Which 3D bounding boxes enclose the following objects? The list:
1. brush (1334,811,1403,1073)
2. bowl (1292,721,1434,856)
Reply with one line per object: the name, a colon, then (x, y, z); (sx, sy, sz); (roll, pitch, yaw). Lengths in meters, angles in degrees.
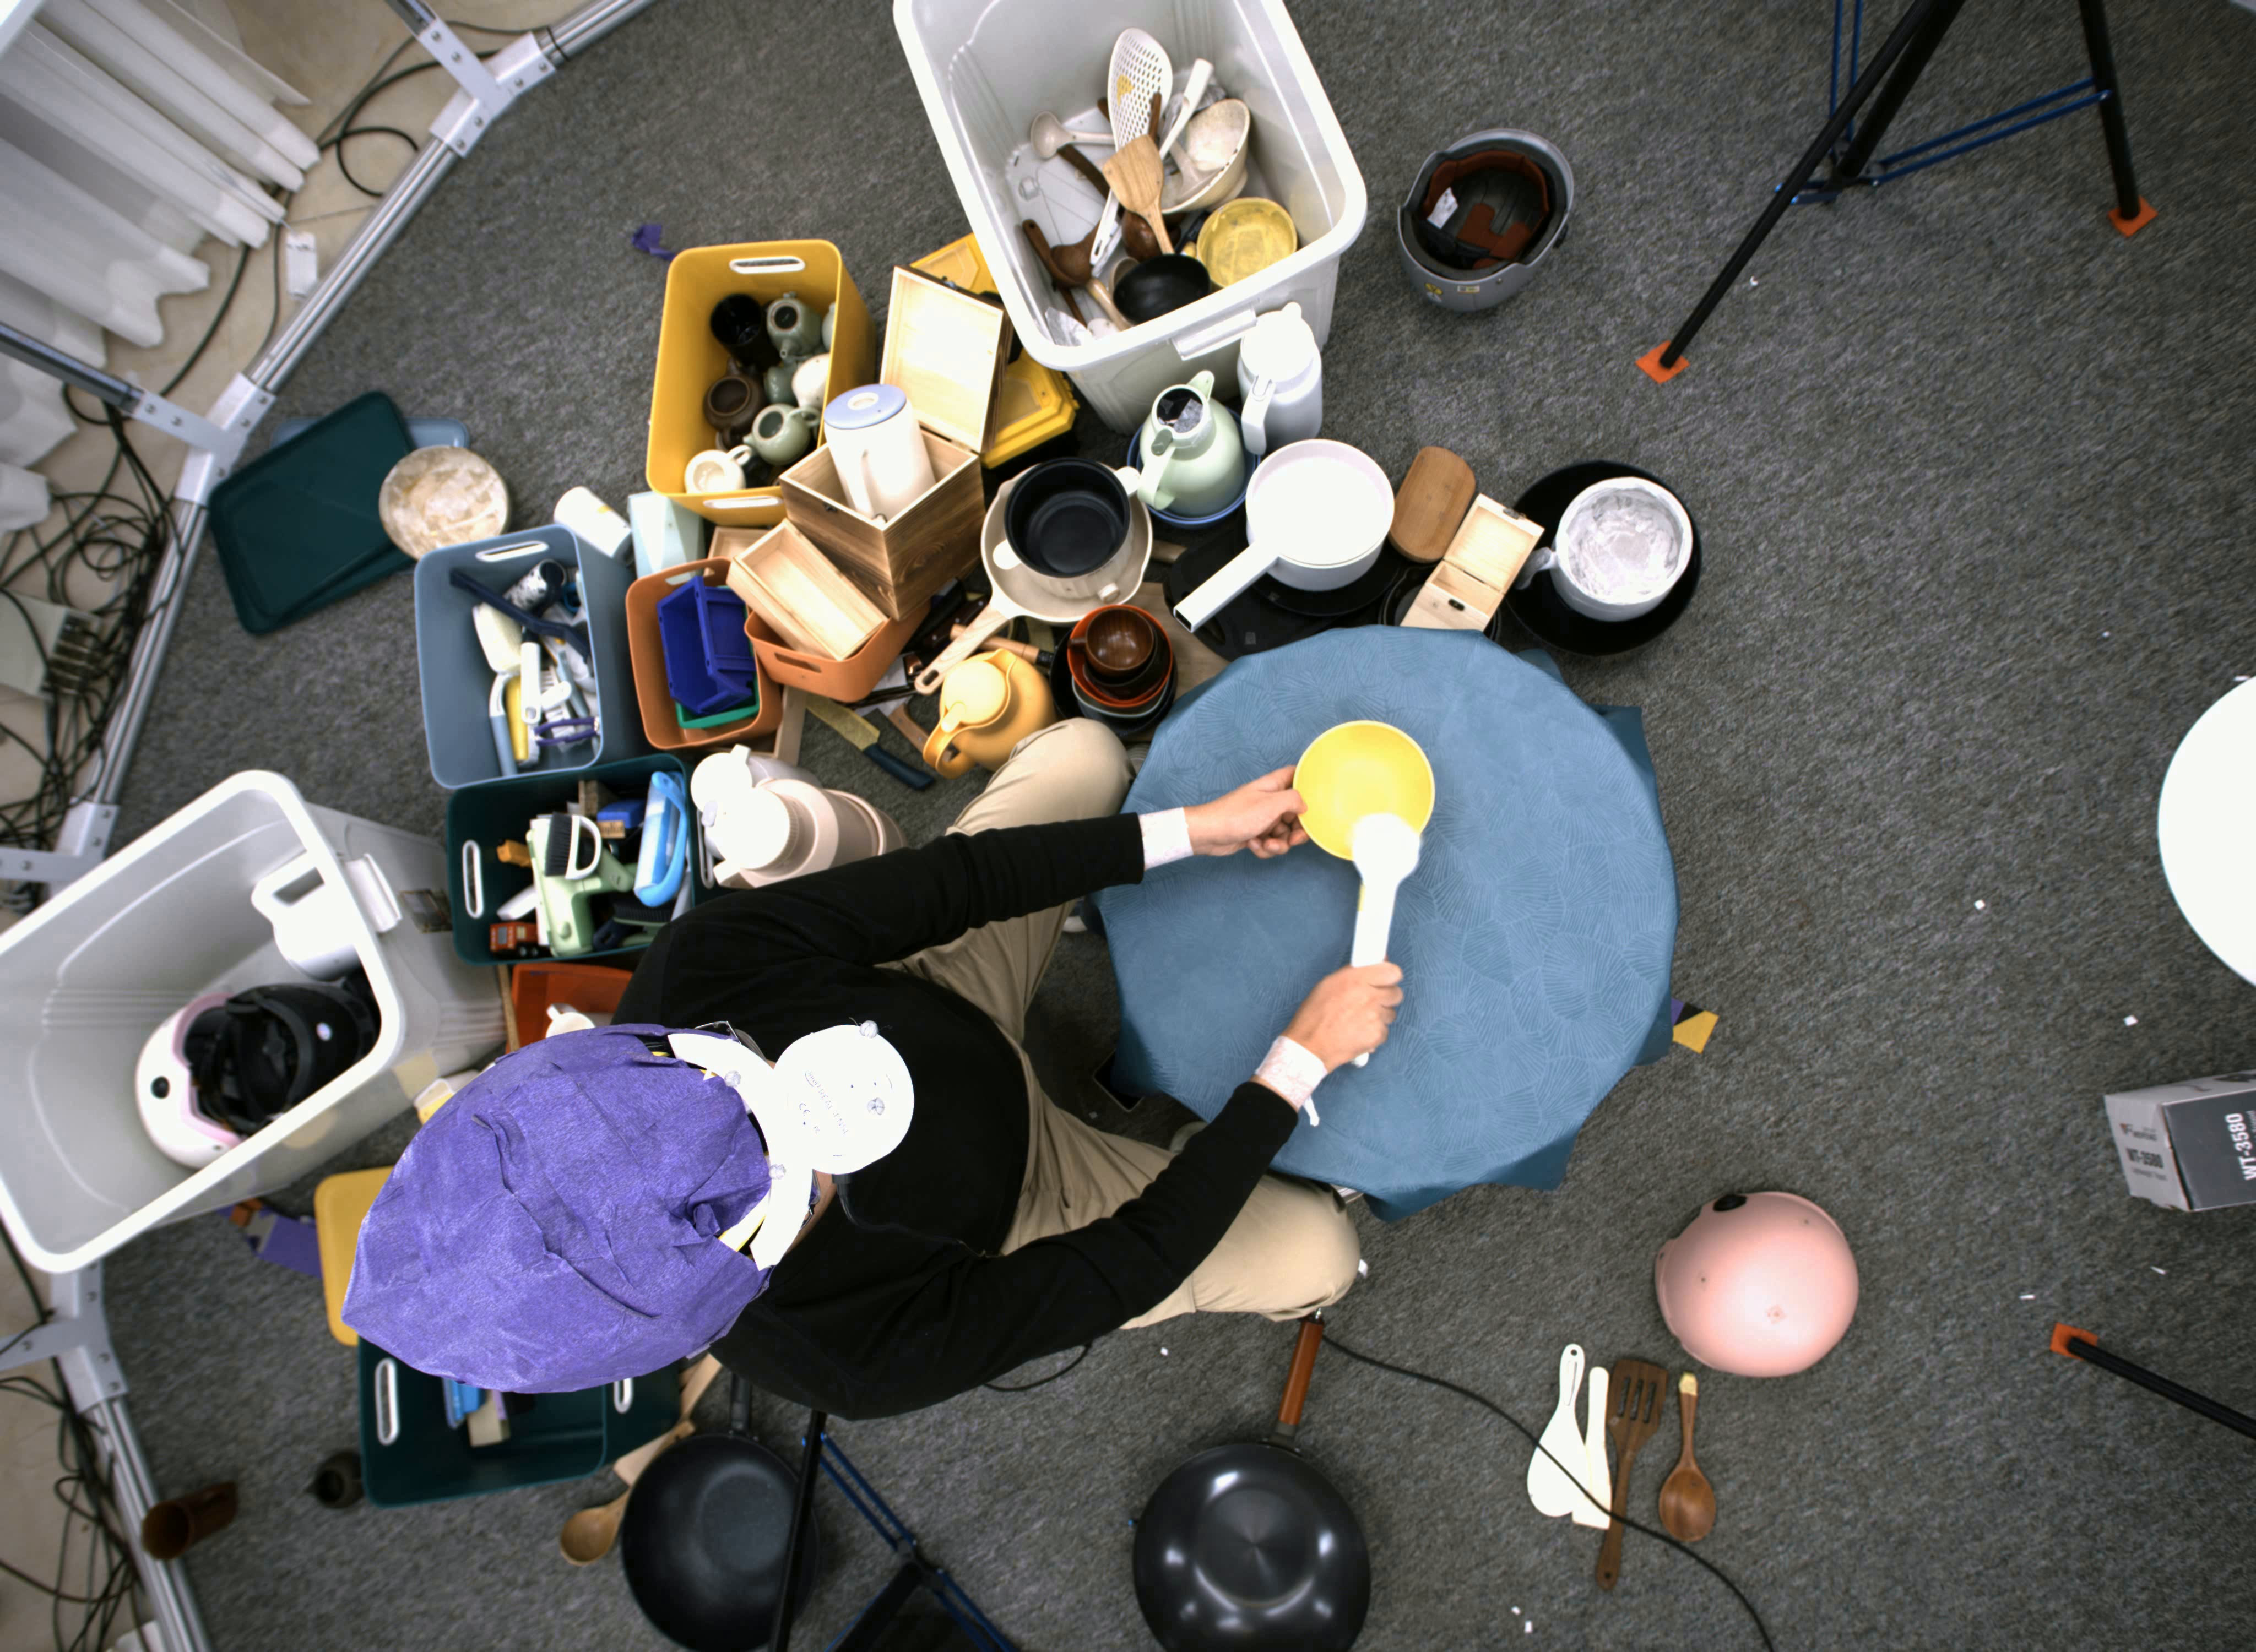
brush: (0.235, 0.115, 1.404); (0.069, 0.055, 0.269); (5, 104, 9)
bowl: (0.247, -0.035, 1.440); (0.146, 0.060, 0.144); (-1, 86, 13)
